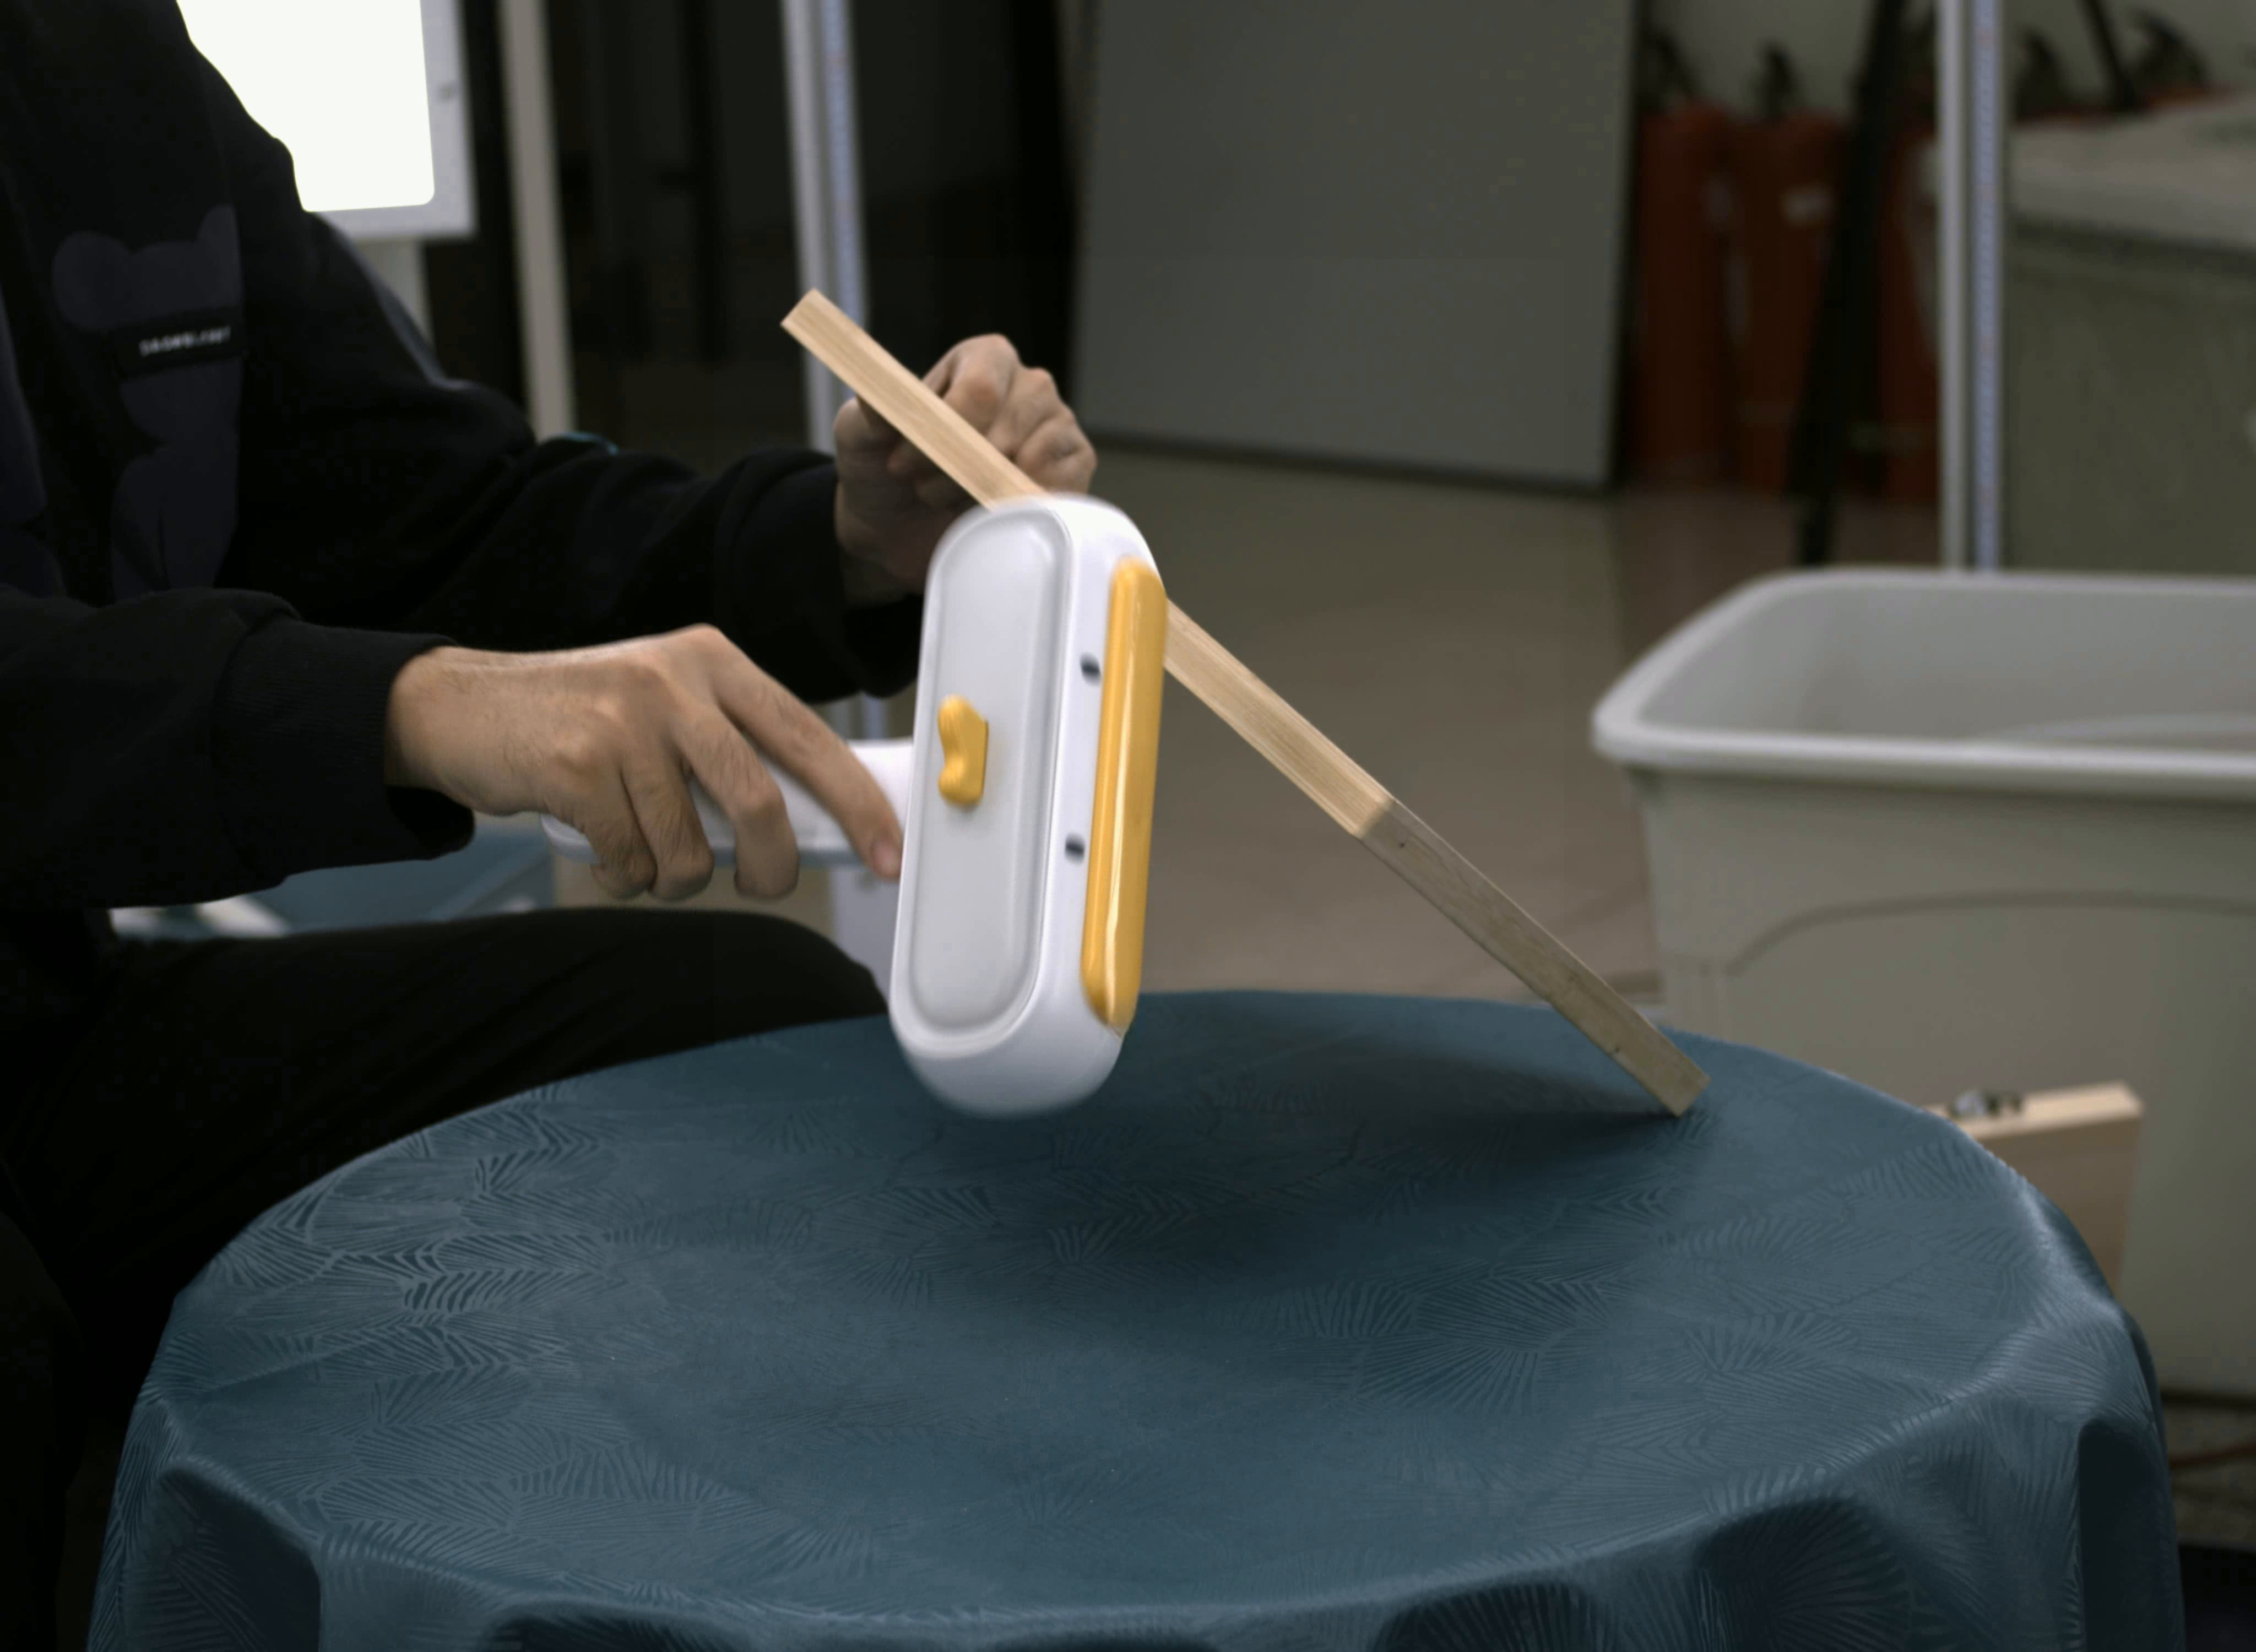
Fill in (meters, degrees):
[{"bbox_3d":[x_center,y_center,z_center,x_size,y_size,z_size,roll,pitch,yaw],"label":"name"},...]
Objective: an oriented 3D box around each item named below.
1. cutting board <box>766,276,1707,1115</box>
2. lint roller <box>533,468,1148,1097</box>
[{"bbox_3d":[0.034,-0.046,1.837,0.353,0.023,0.247,43,2,41],"label":"cutting board"},{"bbox_3d":[-0.085,-0.009,1.627,0.192,0.195,0.073,-9,-21,25],"label":"lint roller"}]
